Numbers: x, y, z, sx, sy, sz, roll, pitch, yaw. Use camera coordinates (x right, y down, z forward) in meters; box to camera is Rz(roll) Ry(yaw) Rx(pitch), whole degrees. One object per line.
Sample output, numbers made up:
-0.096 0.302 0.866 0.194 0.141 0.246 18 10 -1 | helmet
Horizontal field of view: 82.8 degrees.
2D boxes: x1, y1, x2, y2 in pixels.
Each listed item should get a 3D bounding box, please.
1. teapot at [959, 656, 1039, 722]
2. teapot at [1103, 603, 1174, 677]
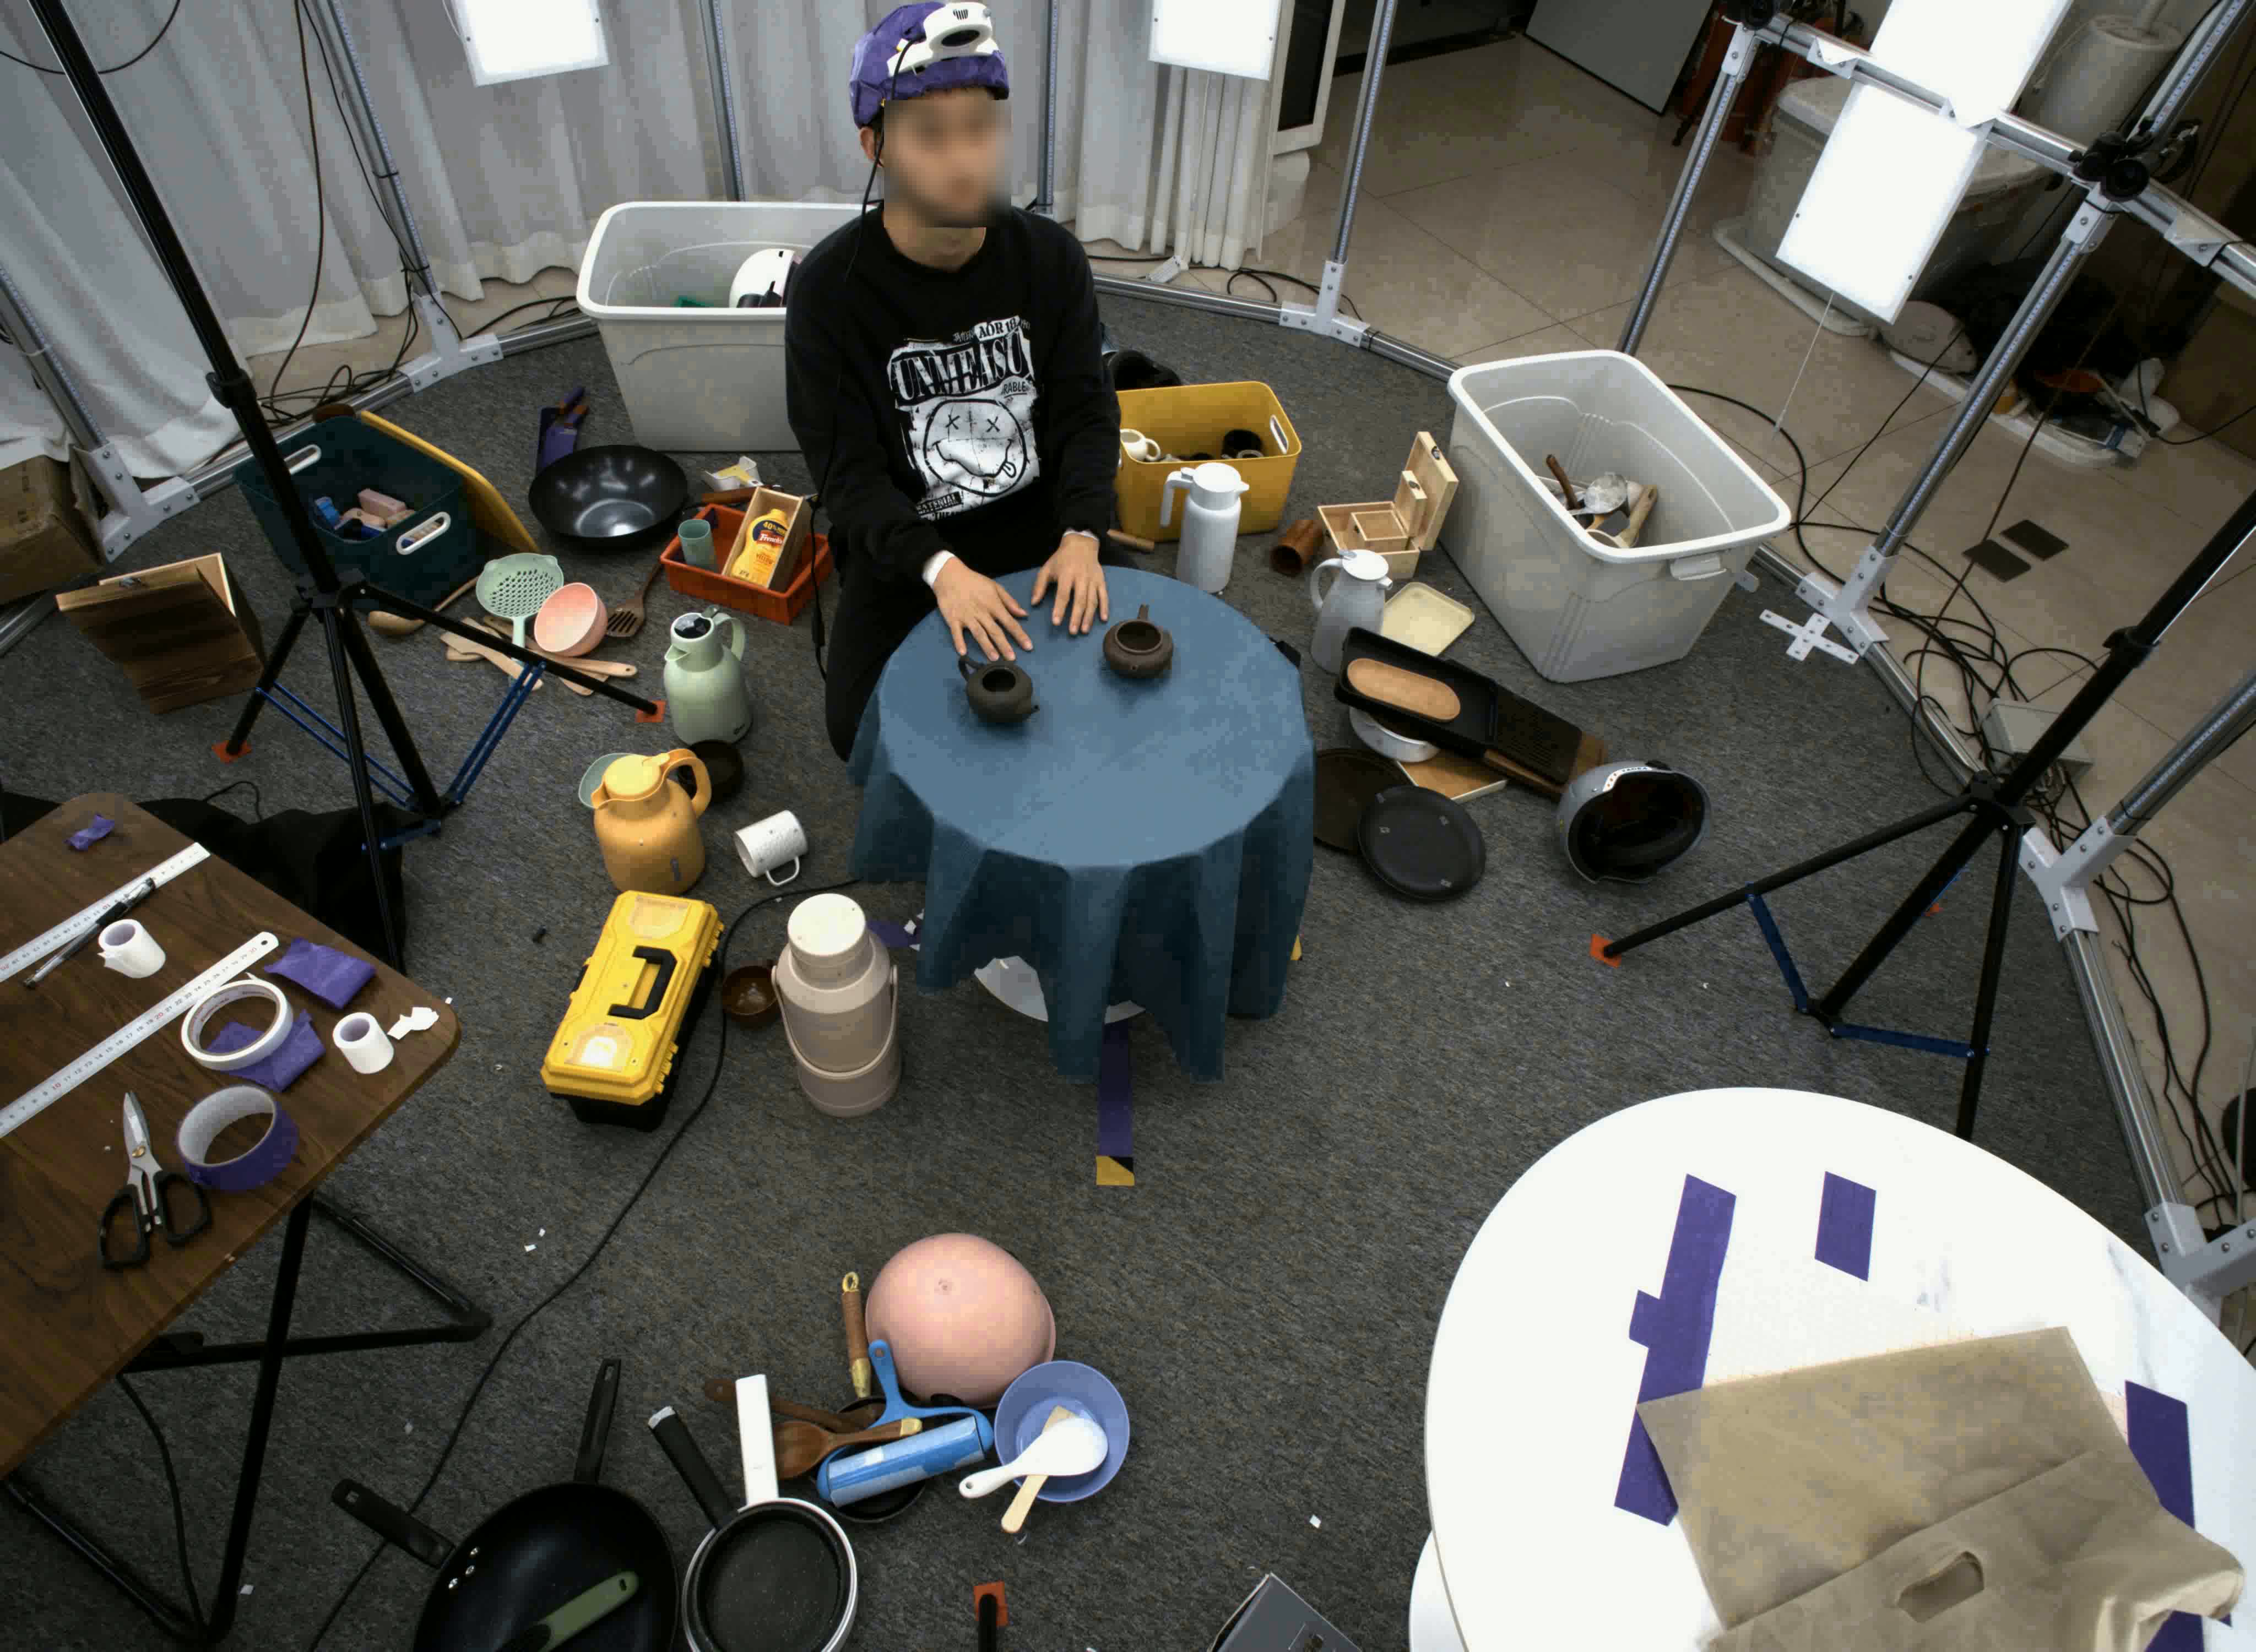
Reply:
-0.180 -0.186 1.779 0.156 0.063 0.093 37 55 25 | teapot
0.016 -0.264 1.864 0.102 0.052 0.157 4 49 -2 | teapot
